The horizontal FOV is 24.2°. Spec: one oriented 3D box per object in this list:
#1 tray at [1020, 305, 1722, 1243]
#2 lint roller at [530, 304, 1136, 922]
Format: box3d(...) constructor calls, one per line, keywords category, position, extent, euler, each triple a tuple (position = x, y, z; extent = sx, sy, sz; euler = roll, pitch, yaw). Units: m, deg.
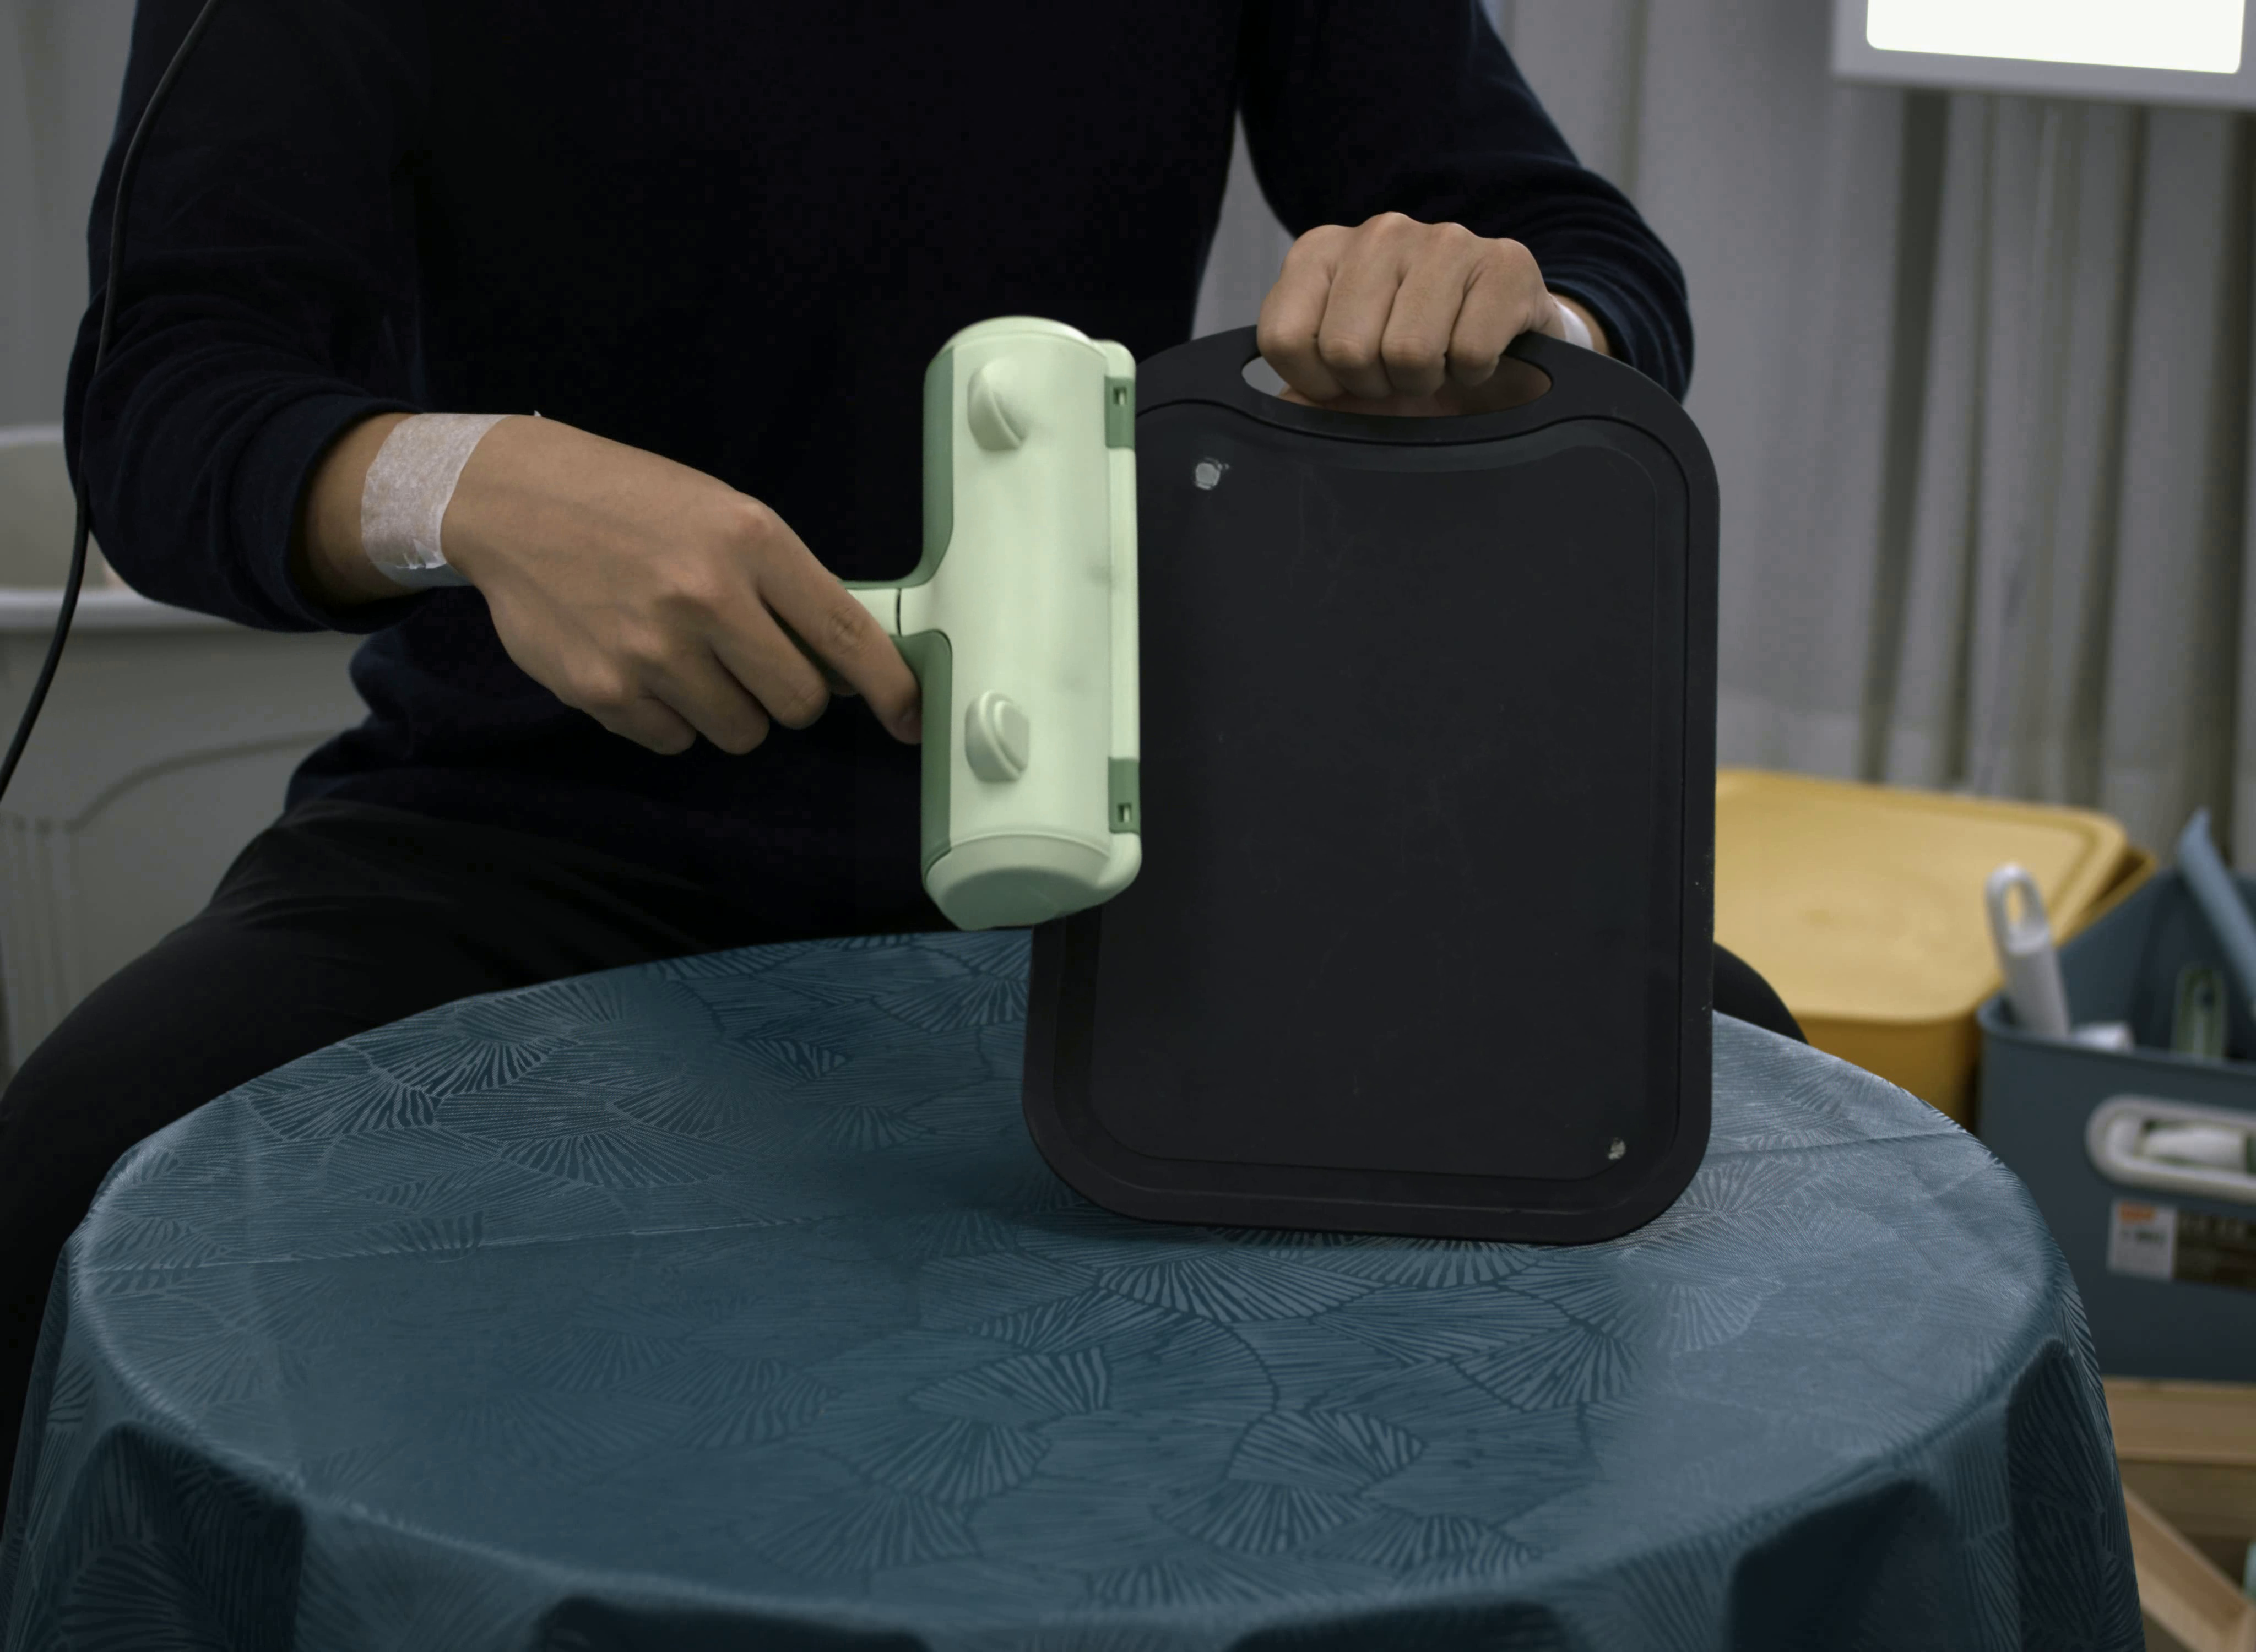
box3d(category="tray", position=(0.078, -0.025, 1.642), extent=(0.210, 0.324, 0.010), euler=(4, -26, 1))
box3d(category="lint roller", position=(-0.090, -0.071, 1.604), extent=(0.183, 0.197, 0.083), euler=(2, -27, -7))
